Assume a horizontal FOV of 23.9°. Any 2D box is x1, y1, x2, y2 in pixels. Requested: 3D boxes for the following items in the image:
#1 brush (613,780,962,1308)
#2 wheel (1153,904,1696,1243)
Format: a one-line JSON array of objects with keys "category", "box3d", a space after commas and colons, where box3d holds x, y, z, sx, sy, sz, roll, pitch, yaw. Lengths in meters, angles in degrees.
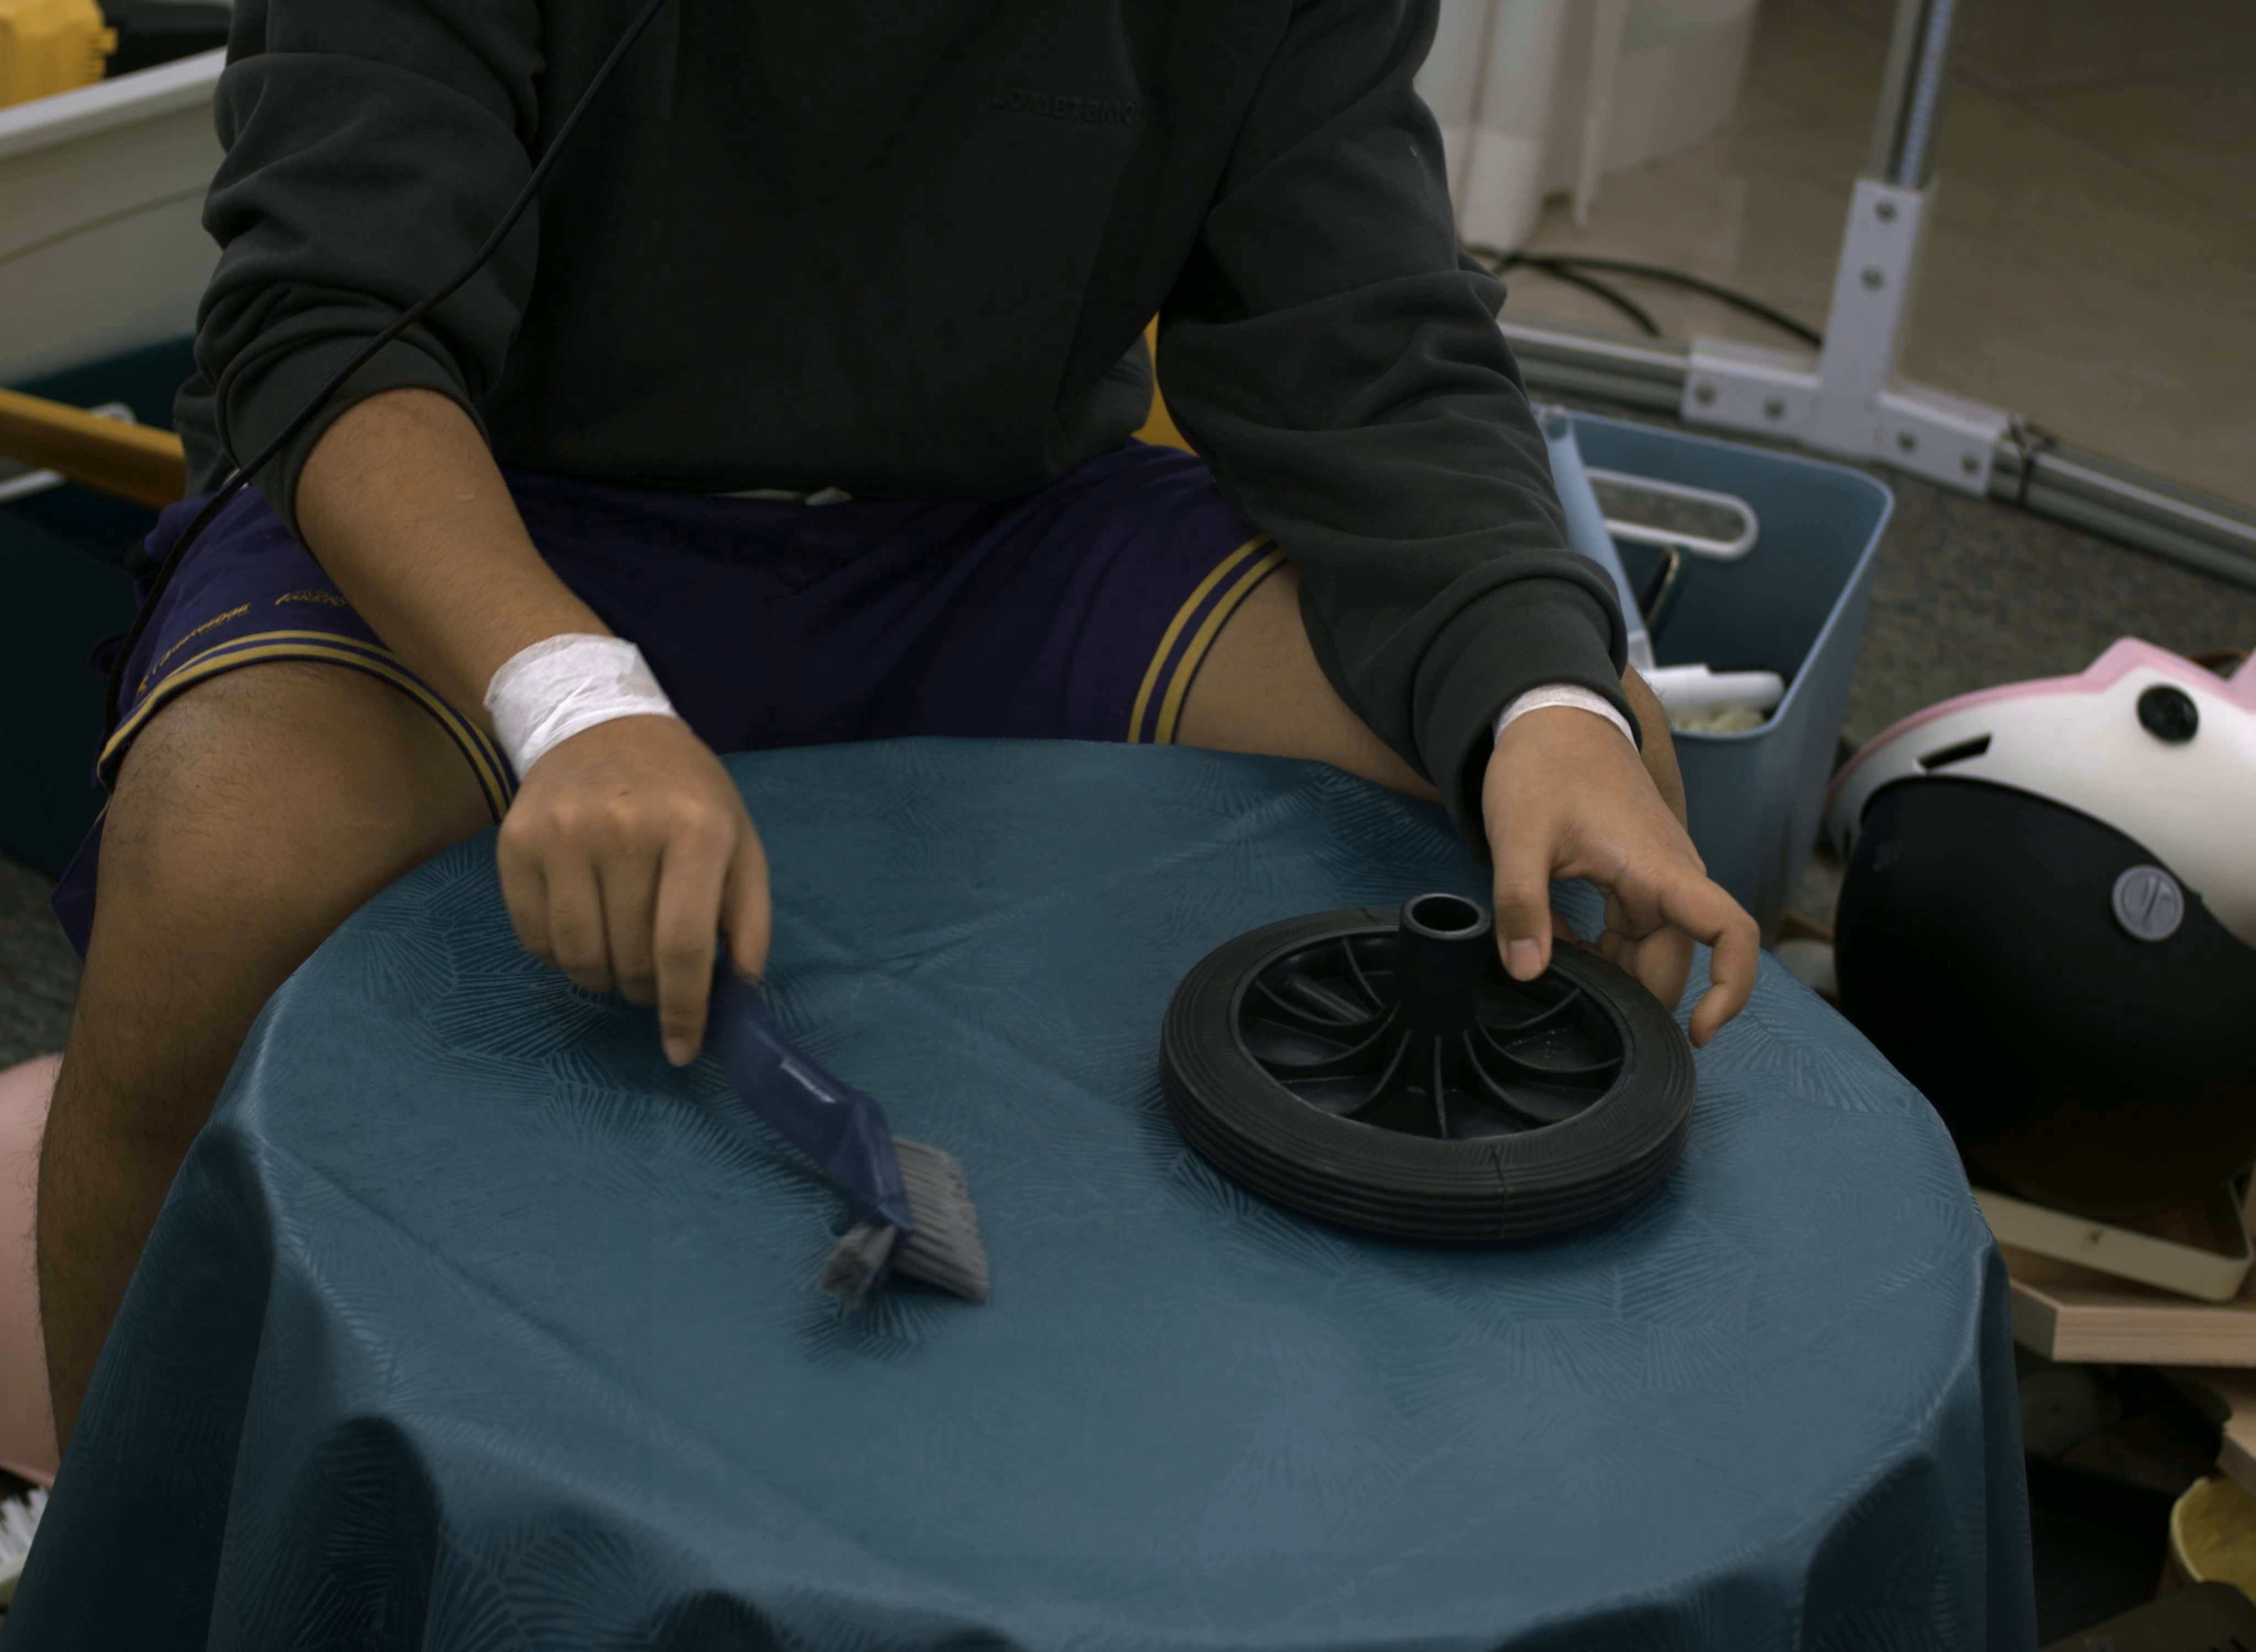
[{"category": "brush", "box3d": [-0.132, 0.070, 1.805, 0.095, 0.033, 0.276, 6, 30, -40]}, {"category": "wheel", "box3d": [0.105, 0.068, 1.849, 0.190, 0.079, 0.187, 13, 31, 17]}]
